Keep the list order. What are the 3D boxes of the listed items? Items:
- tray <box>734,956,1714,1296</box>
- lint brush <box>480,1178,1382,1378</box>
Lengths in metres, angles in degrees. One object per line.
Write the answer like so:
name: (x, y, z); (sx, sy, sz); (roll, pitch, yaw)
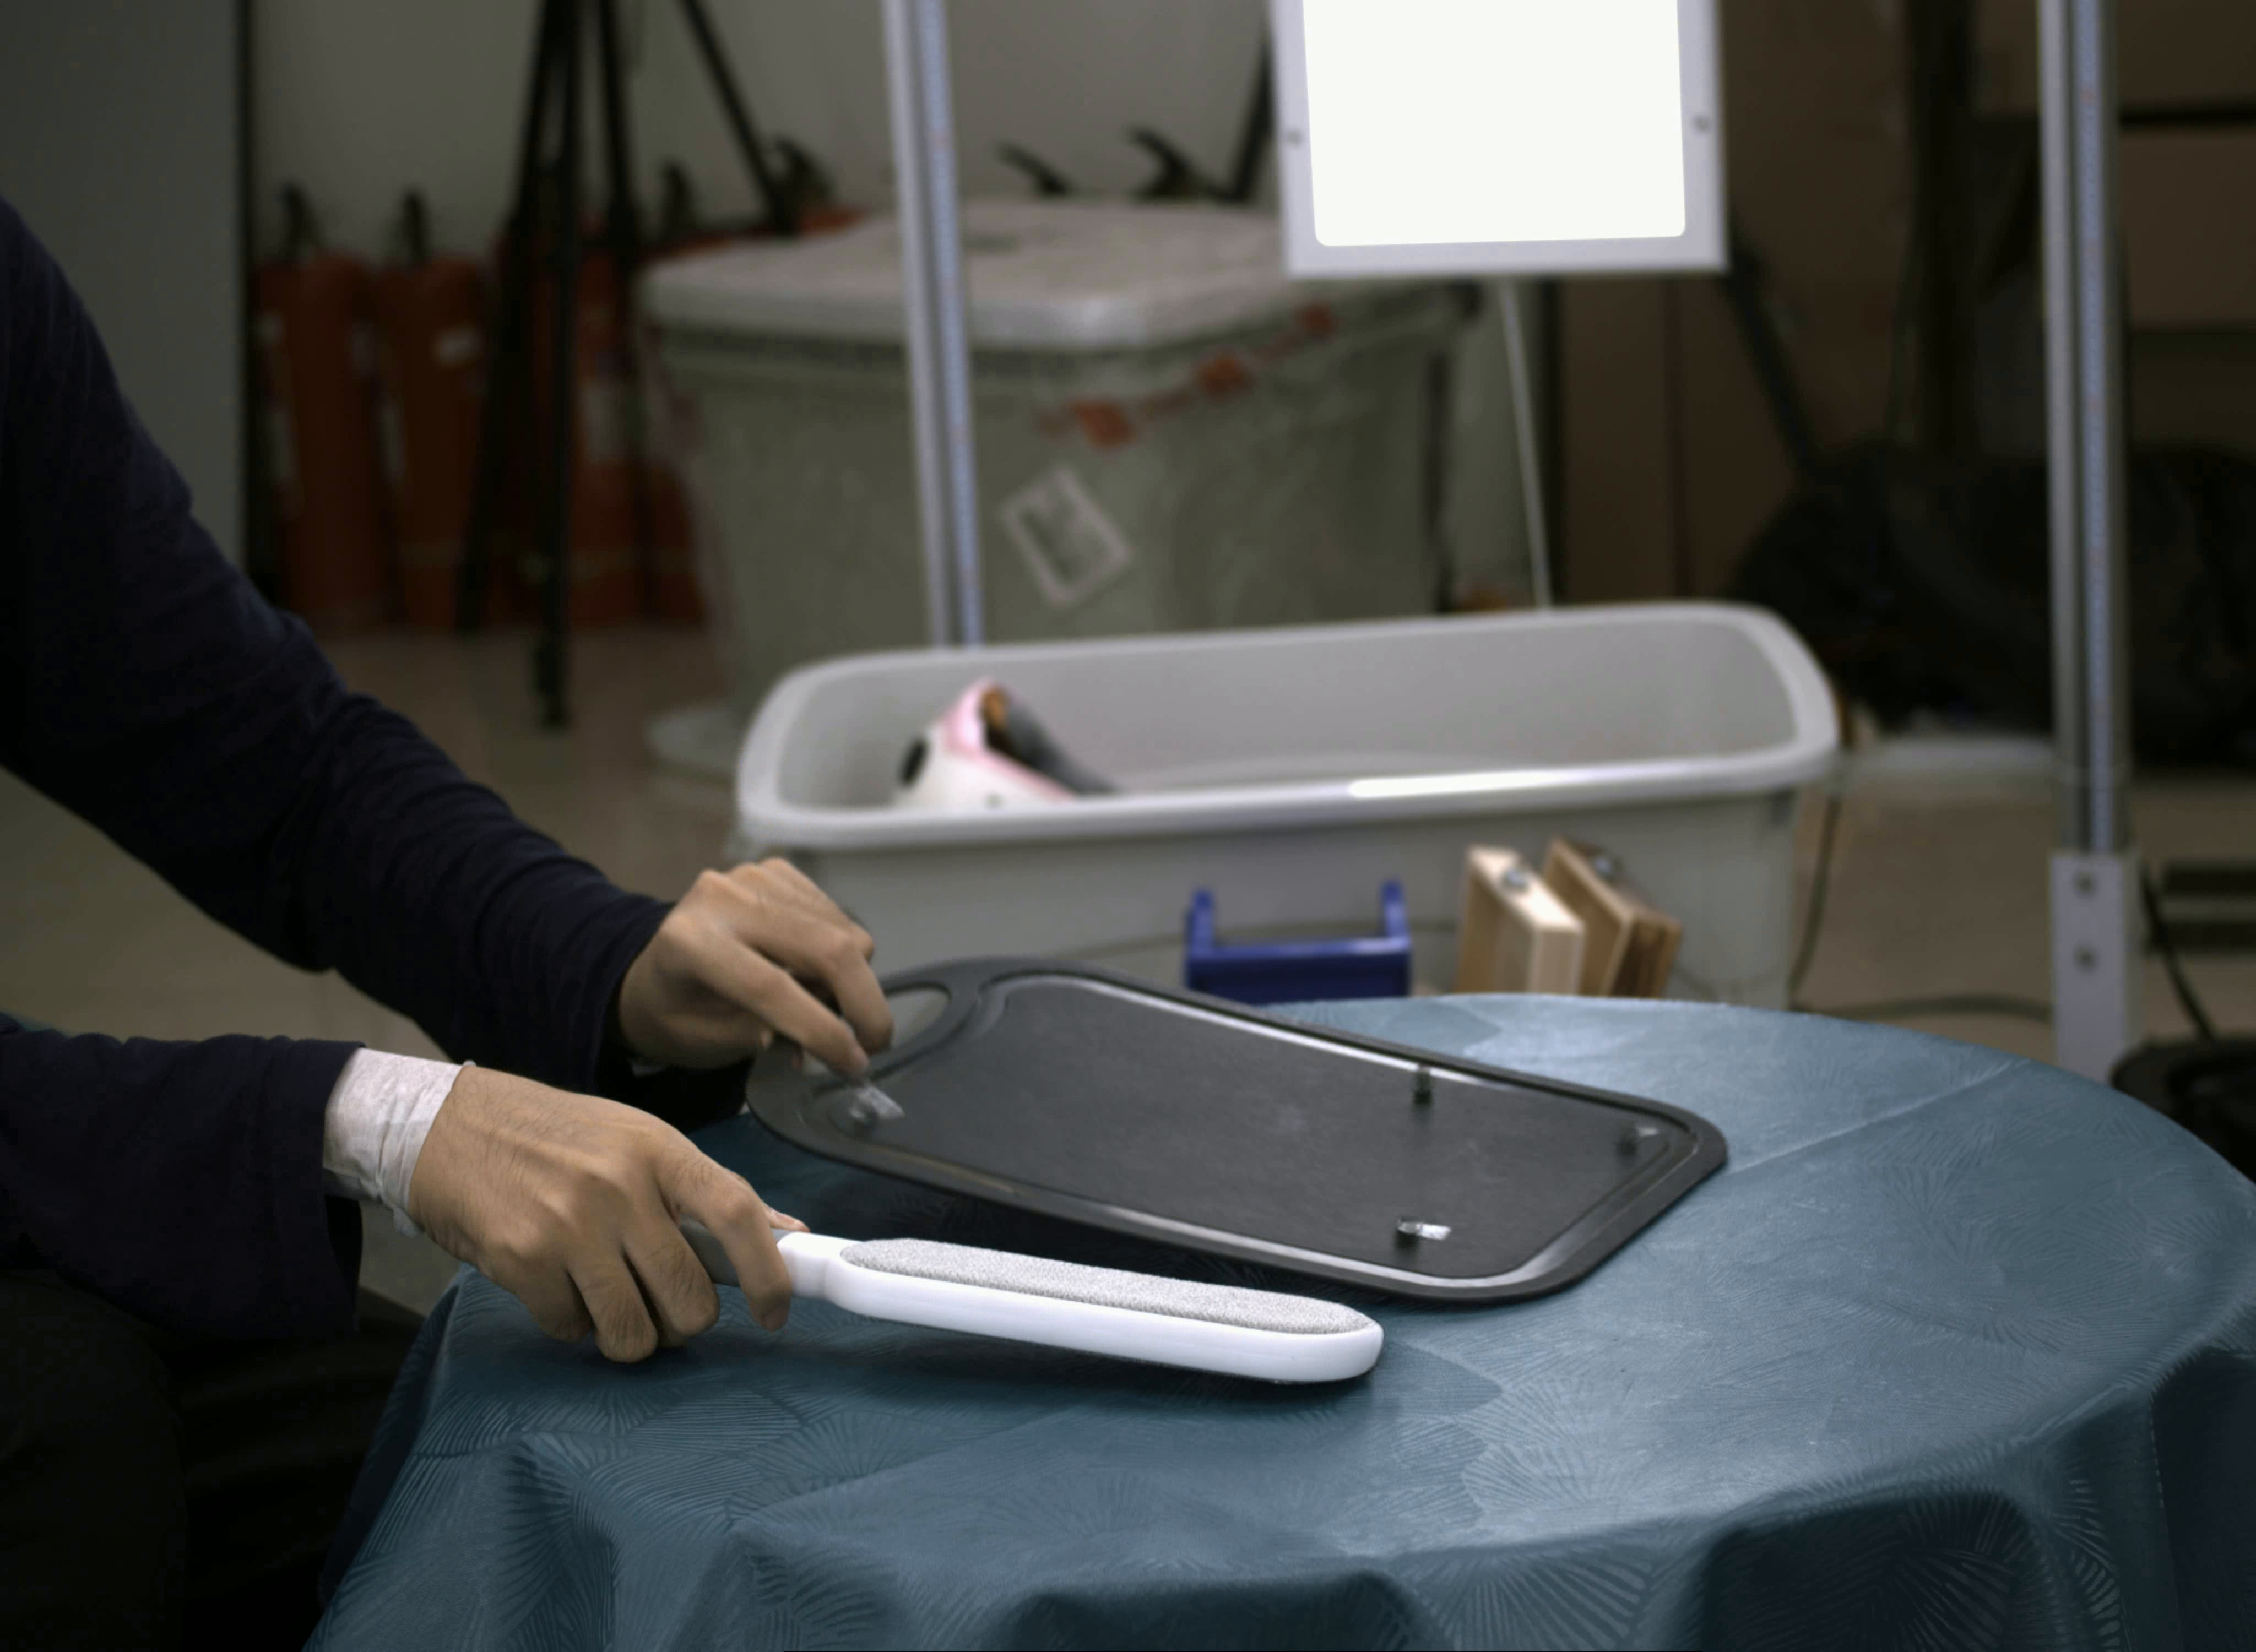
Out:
tray: (0.026, 0.097, 1.893); (0.331, 0.010, 0.206); (13, 20, 28)
lint brush: (-0.067, 0.141, 1.749); (0.313, 0.021, 0.059); (7, 13, 23)
